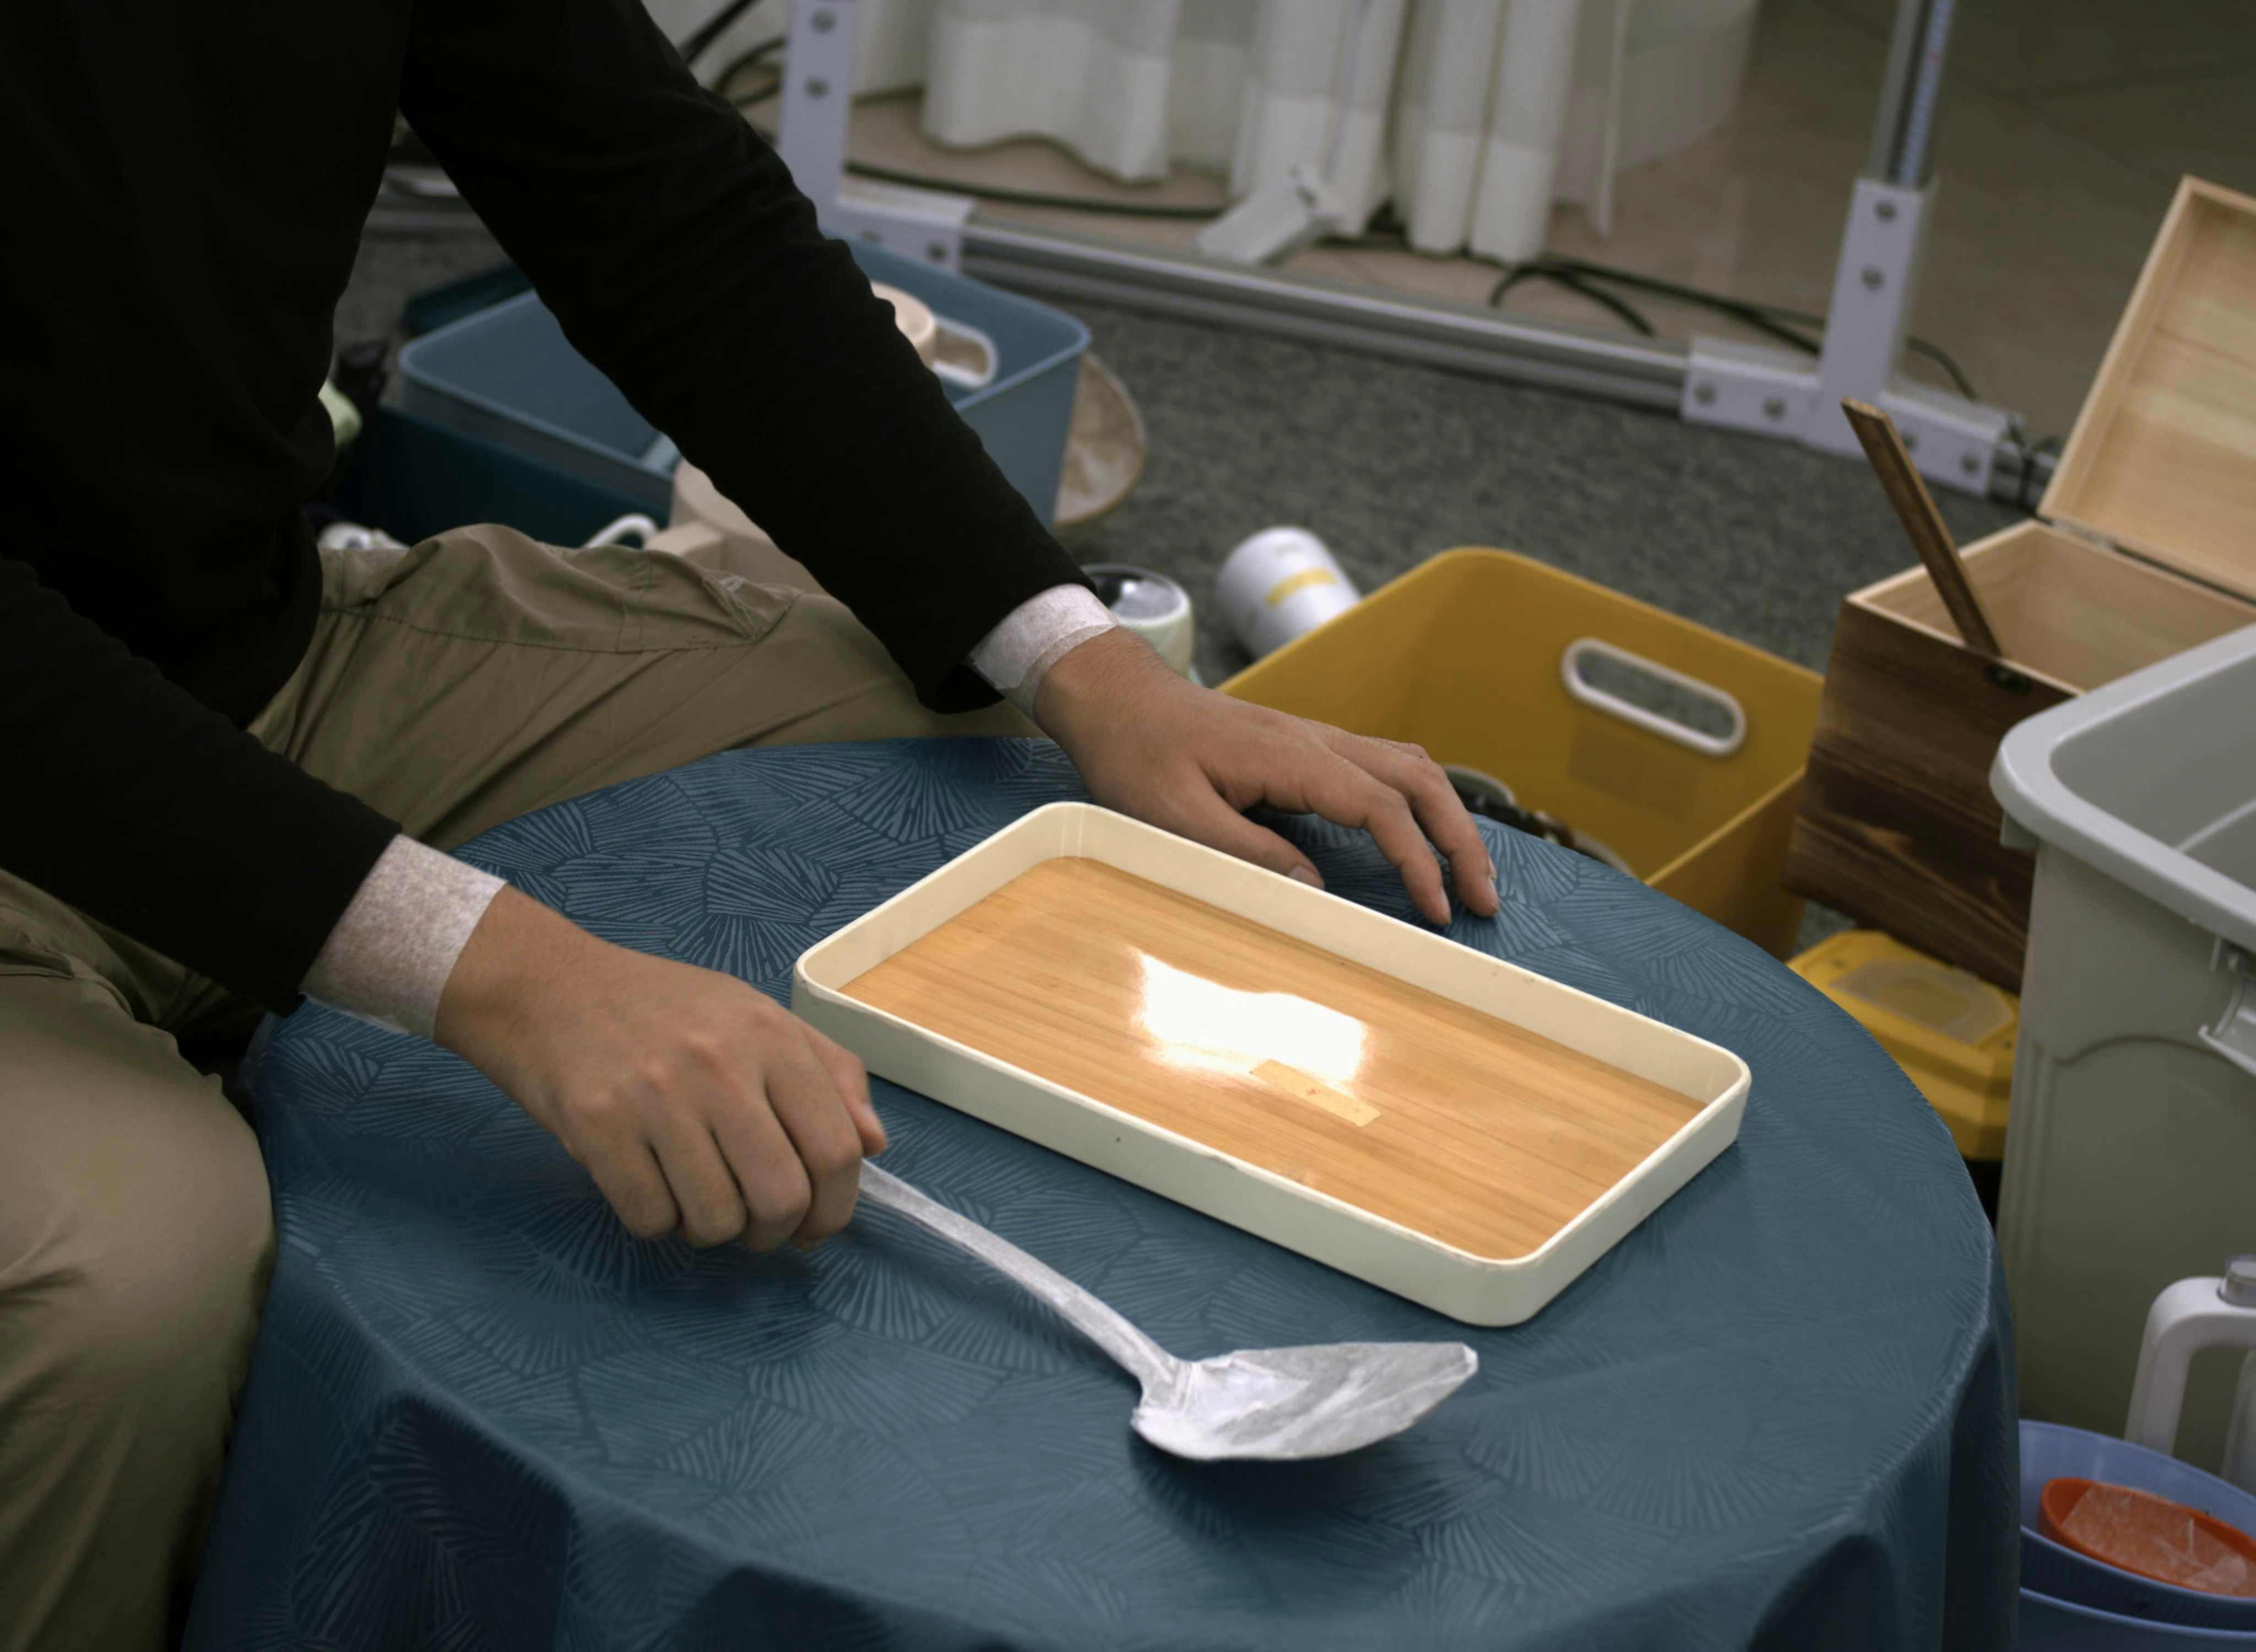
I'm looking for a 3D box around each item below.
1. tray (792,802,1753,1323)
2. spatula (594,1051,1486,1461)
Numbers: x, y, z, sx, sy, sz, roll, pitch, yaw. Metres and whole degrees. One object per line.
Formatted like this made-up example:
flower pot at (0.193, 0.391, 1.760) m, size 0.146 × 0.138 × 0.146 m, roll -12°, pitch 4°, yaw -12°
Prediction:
tray at (0.050, 0.078, 1.872) m, size 0.302 × 0.027 × 0.191 m, roll 21°, pitch 30°, yaw 27°
spatula at (-0.049, 0.131, 1.733) m, size 0.367 × 0.044 × 0.098 m, roll 26°, pitch 33°, yaw 32°
